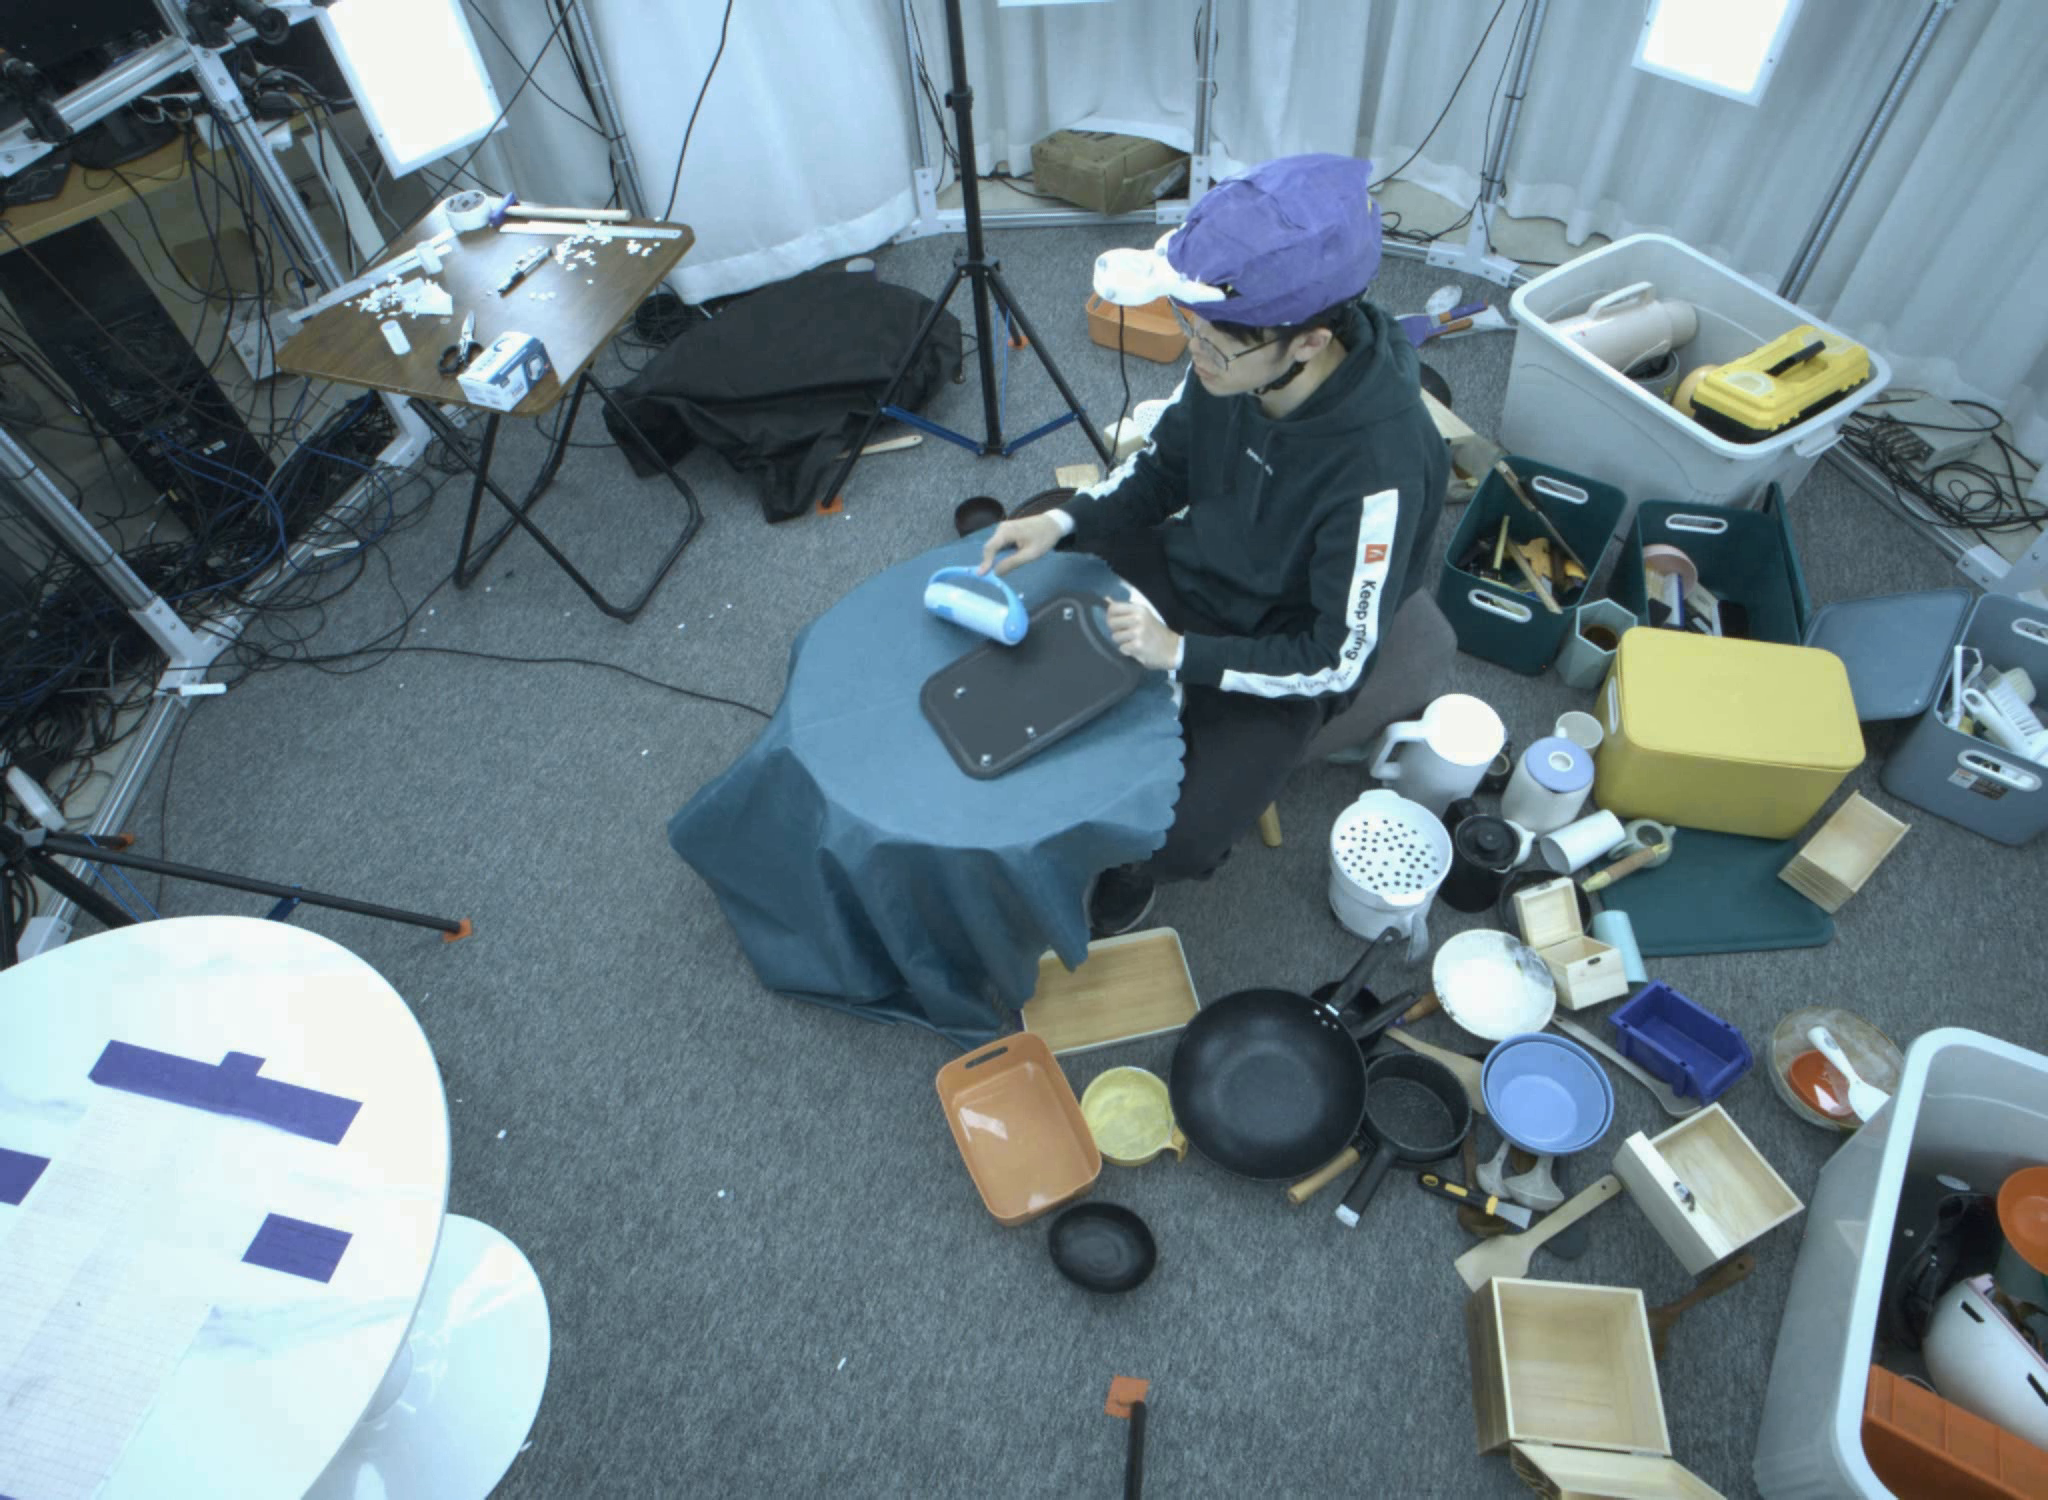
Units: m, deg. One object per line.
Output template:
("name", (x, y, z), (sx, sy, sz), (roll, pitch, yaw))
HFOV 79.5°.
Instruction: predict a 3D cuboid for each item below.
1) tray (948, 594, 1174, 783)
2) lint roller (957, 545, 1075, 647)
("tray", (0.057, -0.099, 1.799), (0.326, 0.010, 0.207), (-31, 63, -2))
("lint roller", (0.006, -0.256, 1.868), (0.223, 0.069, 0.180), (23, 76, 45))
